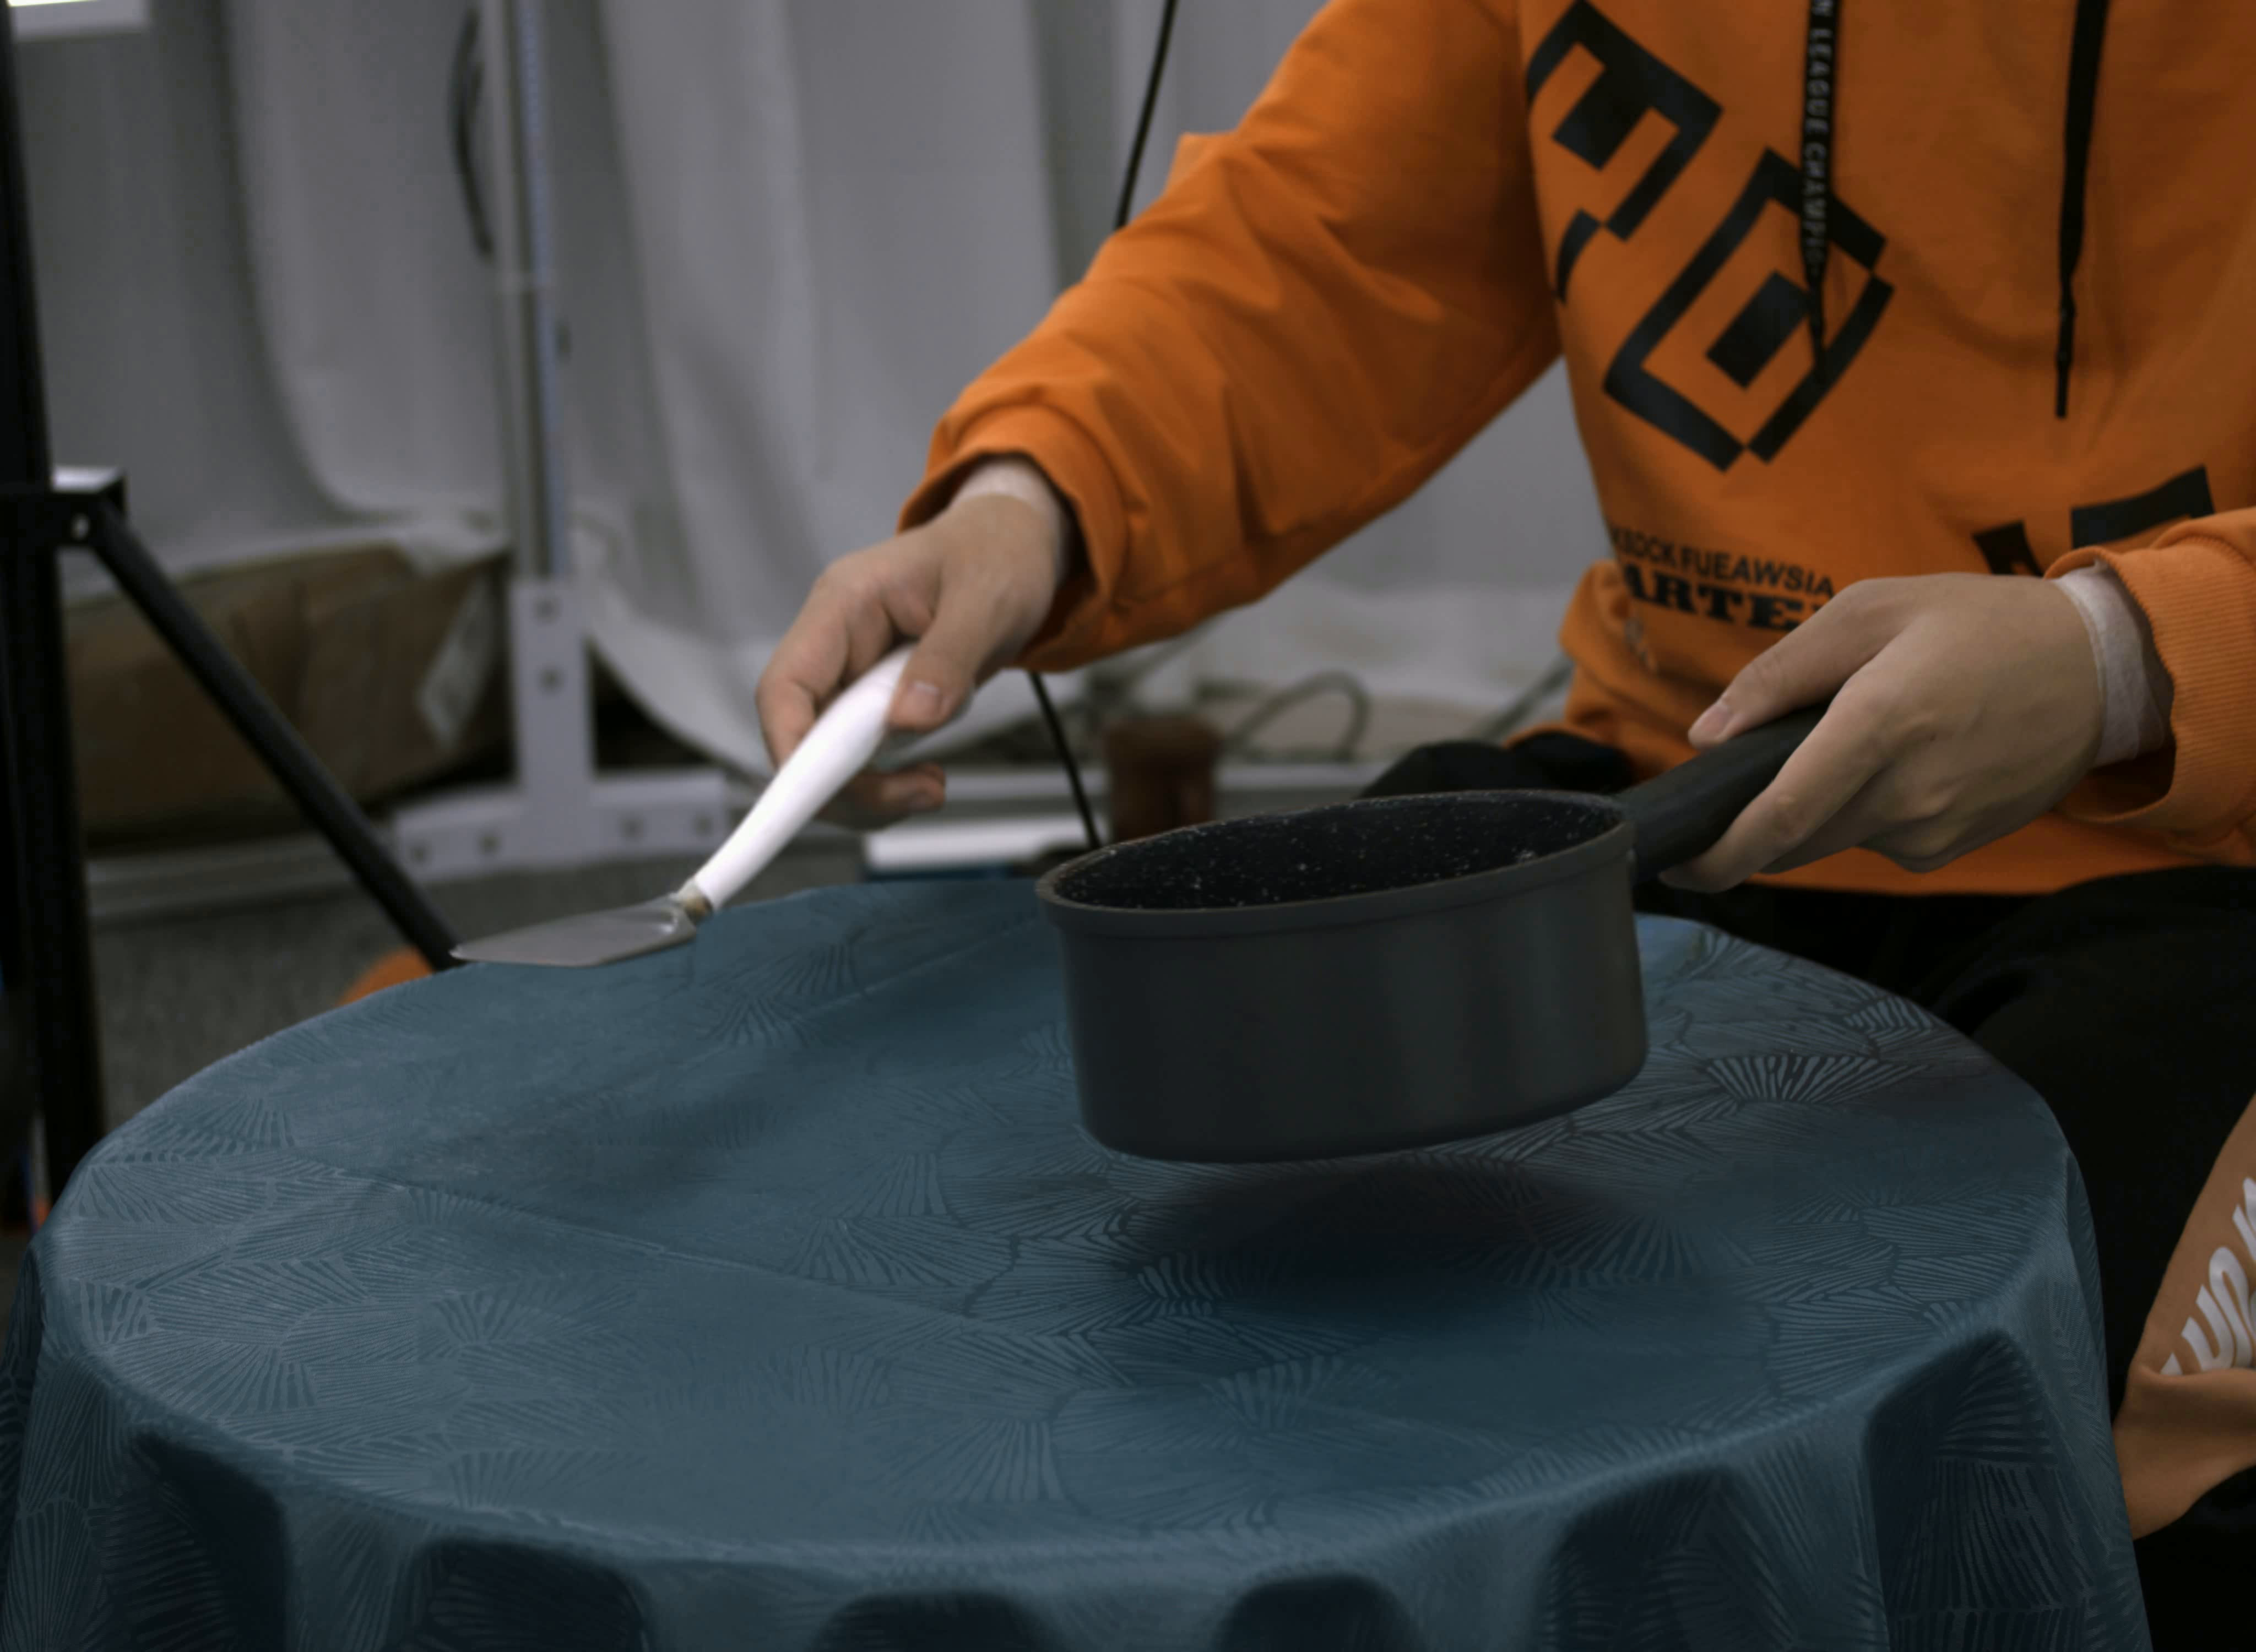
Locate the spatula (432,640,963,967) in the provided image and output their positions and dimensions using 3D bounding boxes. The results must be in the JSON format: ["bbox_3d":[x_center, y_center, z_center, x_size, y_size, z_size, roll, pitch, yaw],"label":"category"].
[{"bbox_3d":[-0.126,0.000,1.684,0.059,0.032,0.284,8,23,22],"label":"spatula"}]

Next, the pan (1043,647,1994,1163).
[{"bbox_3d":[0.128,0.023,1.543,0.321,0.086,0.175,-15,11,-32],"label":"pan"}]
